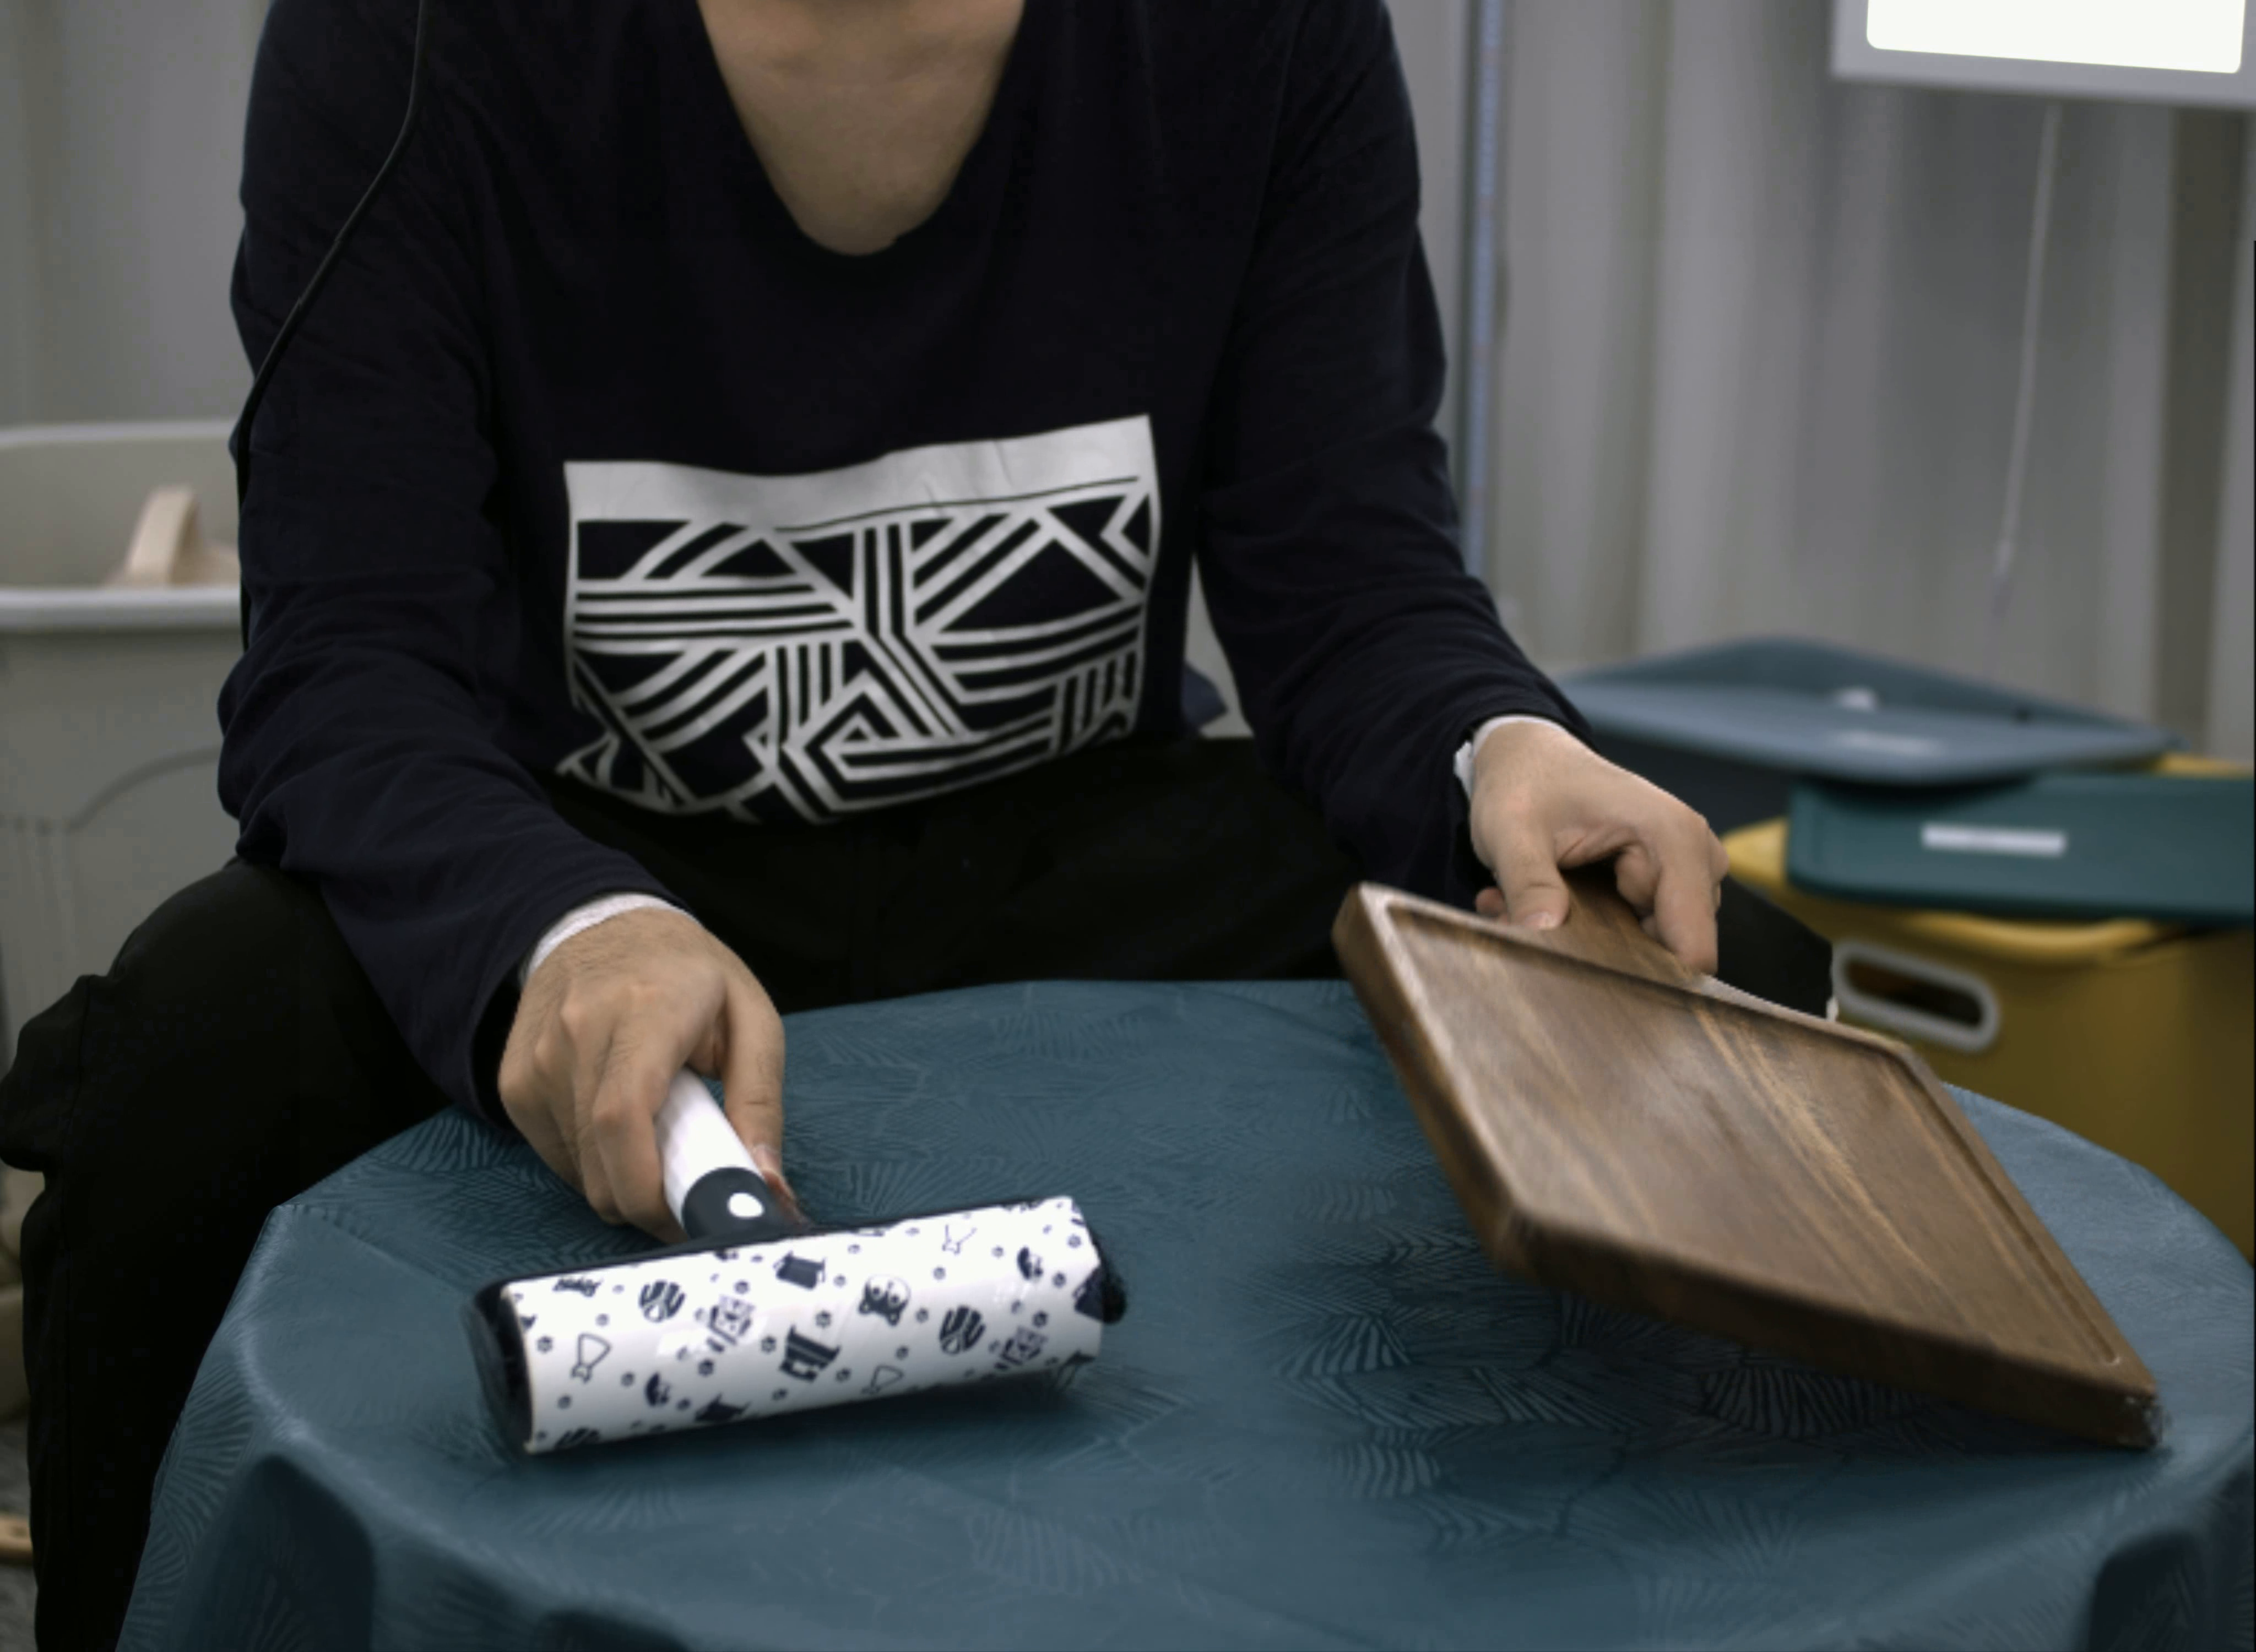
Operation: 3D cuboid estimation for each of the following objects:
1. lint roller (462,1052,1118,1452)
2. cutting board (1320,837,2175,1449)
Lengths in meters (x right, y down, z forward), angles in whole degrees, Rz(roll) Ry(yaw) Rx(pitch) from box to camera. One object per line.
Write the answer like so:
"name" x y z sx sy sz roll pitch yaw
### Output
"lint roller" -0.121 0.106 1.524 0.176 0.051 0.244 -9 19 -16
"cutting board" 0.164 0.077 1.559 0.202 0.023 0.349 14 18 -15
